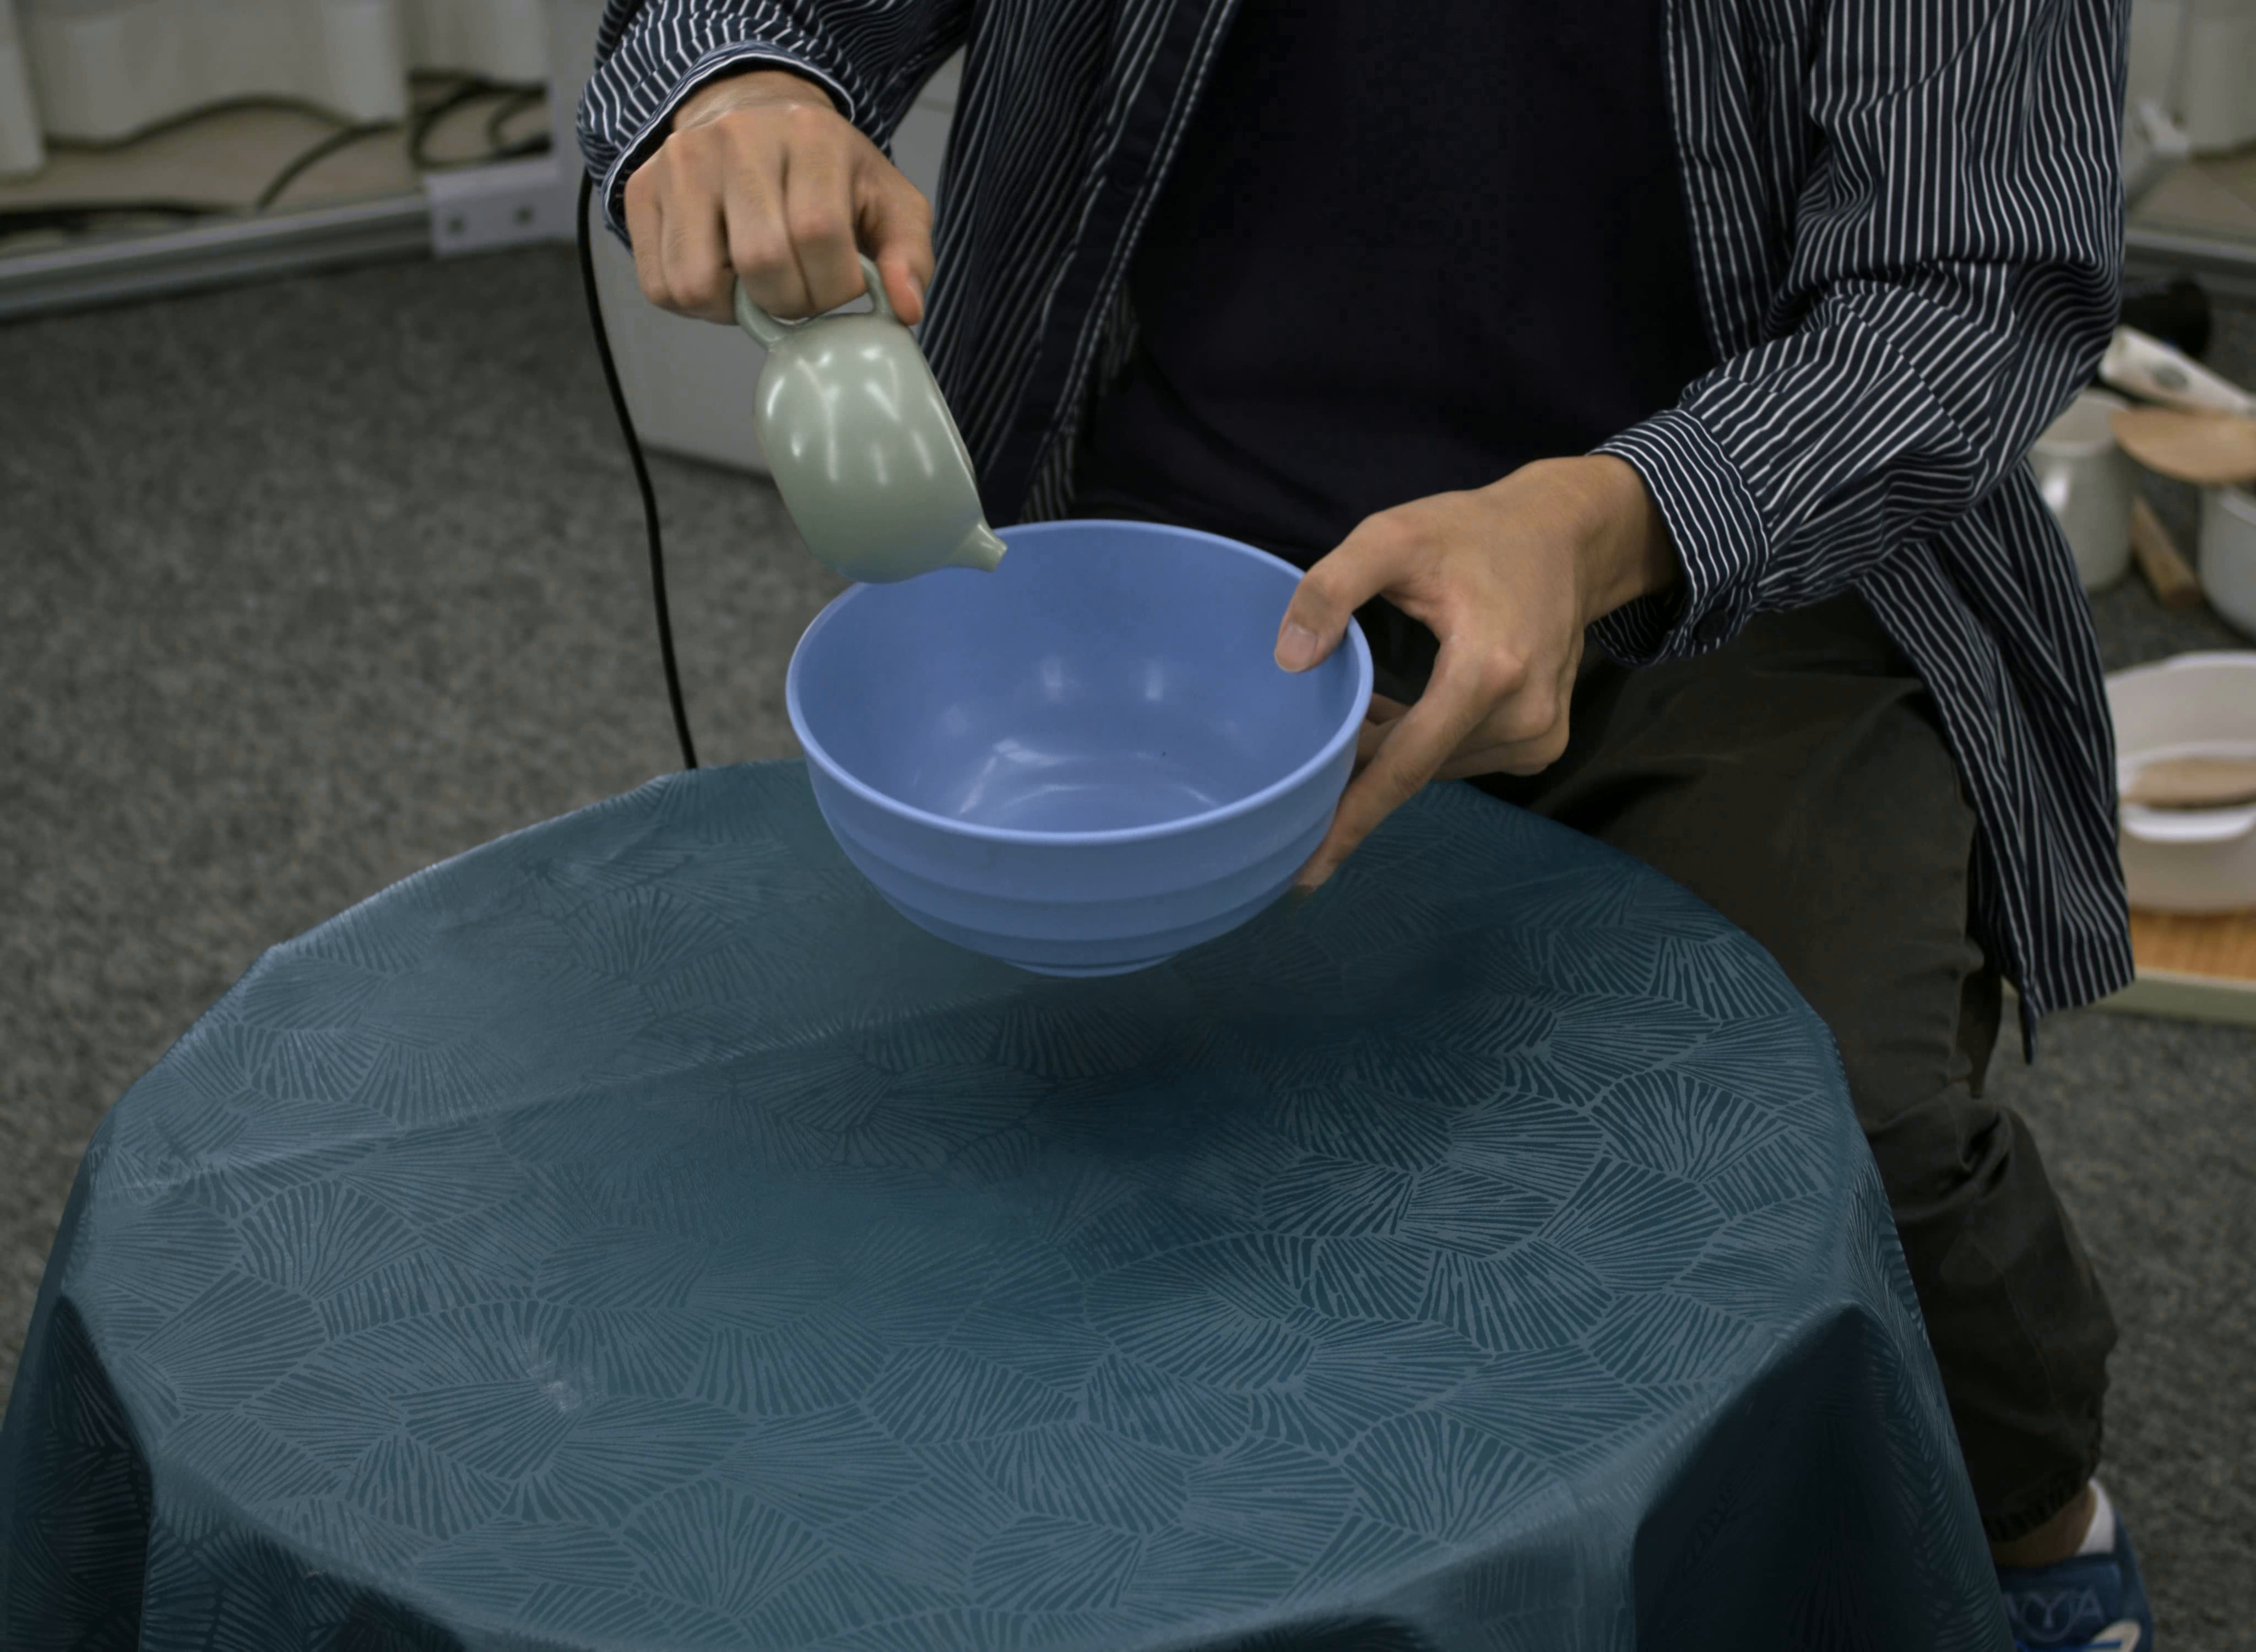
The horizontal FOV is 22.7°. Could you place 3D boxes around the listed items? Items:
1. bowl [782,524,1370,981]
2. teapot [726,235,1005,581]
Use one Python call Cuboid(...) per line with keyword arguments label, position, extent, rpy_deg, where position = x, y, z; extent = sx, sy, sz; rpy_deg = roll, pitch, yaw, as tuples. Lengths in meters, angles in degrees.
Cuboid(label="bowl", position=(-0.016, -0.012, 1.896), extent=(0.195, 0.094, 0.200), rpy_deg=(-1, 33, 1))
Cuboid(label="teapot", position=(-0.092, -0.134, 1.855), extent=(0.060, 0.129, 0.091), rpy_deg=(-25, -1, 3))
